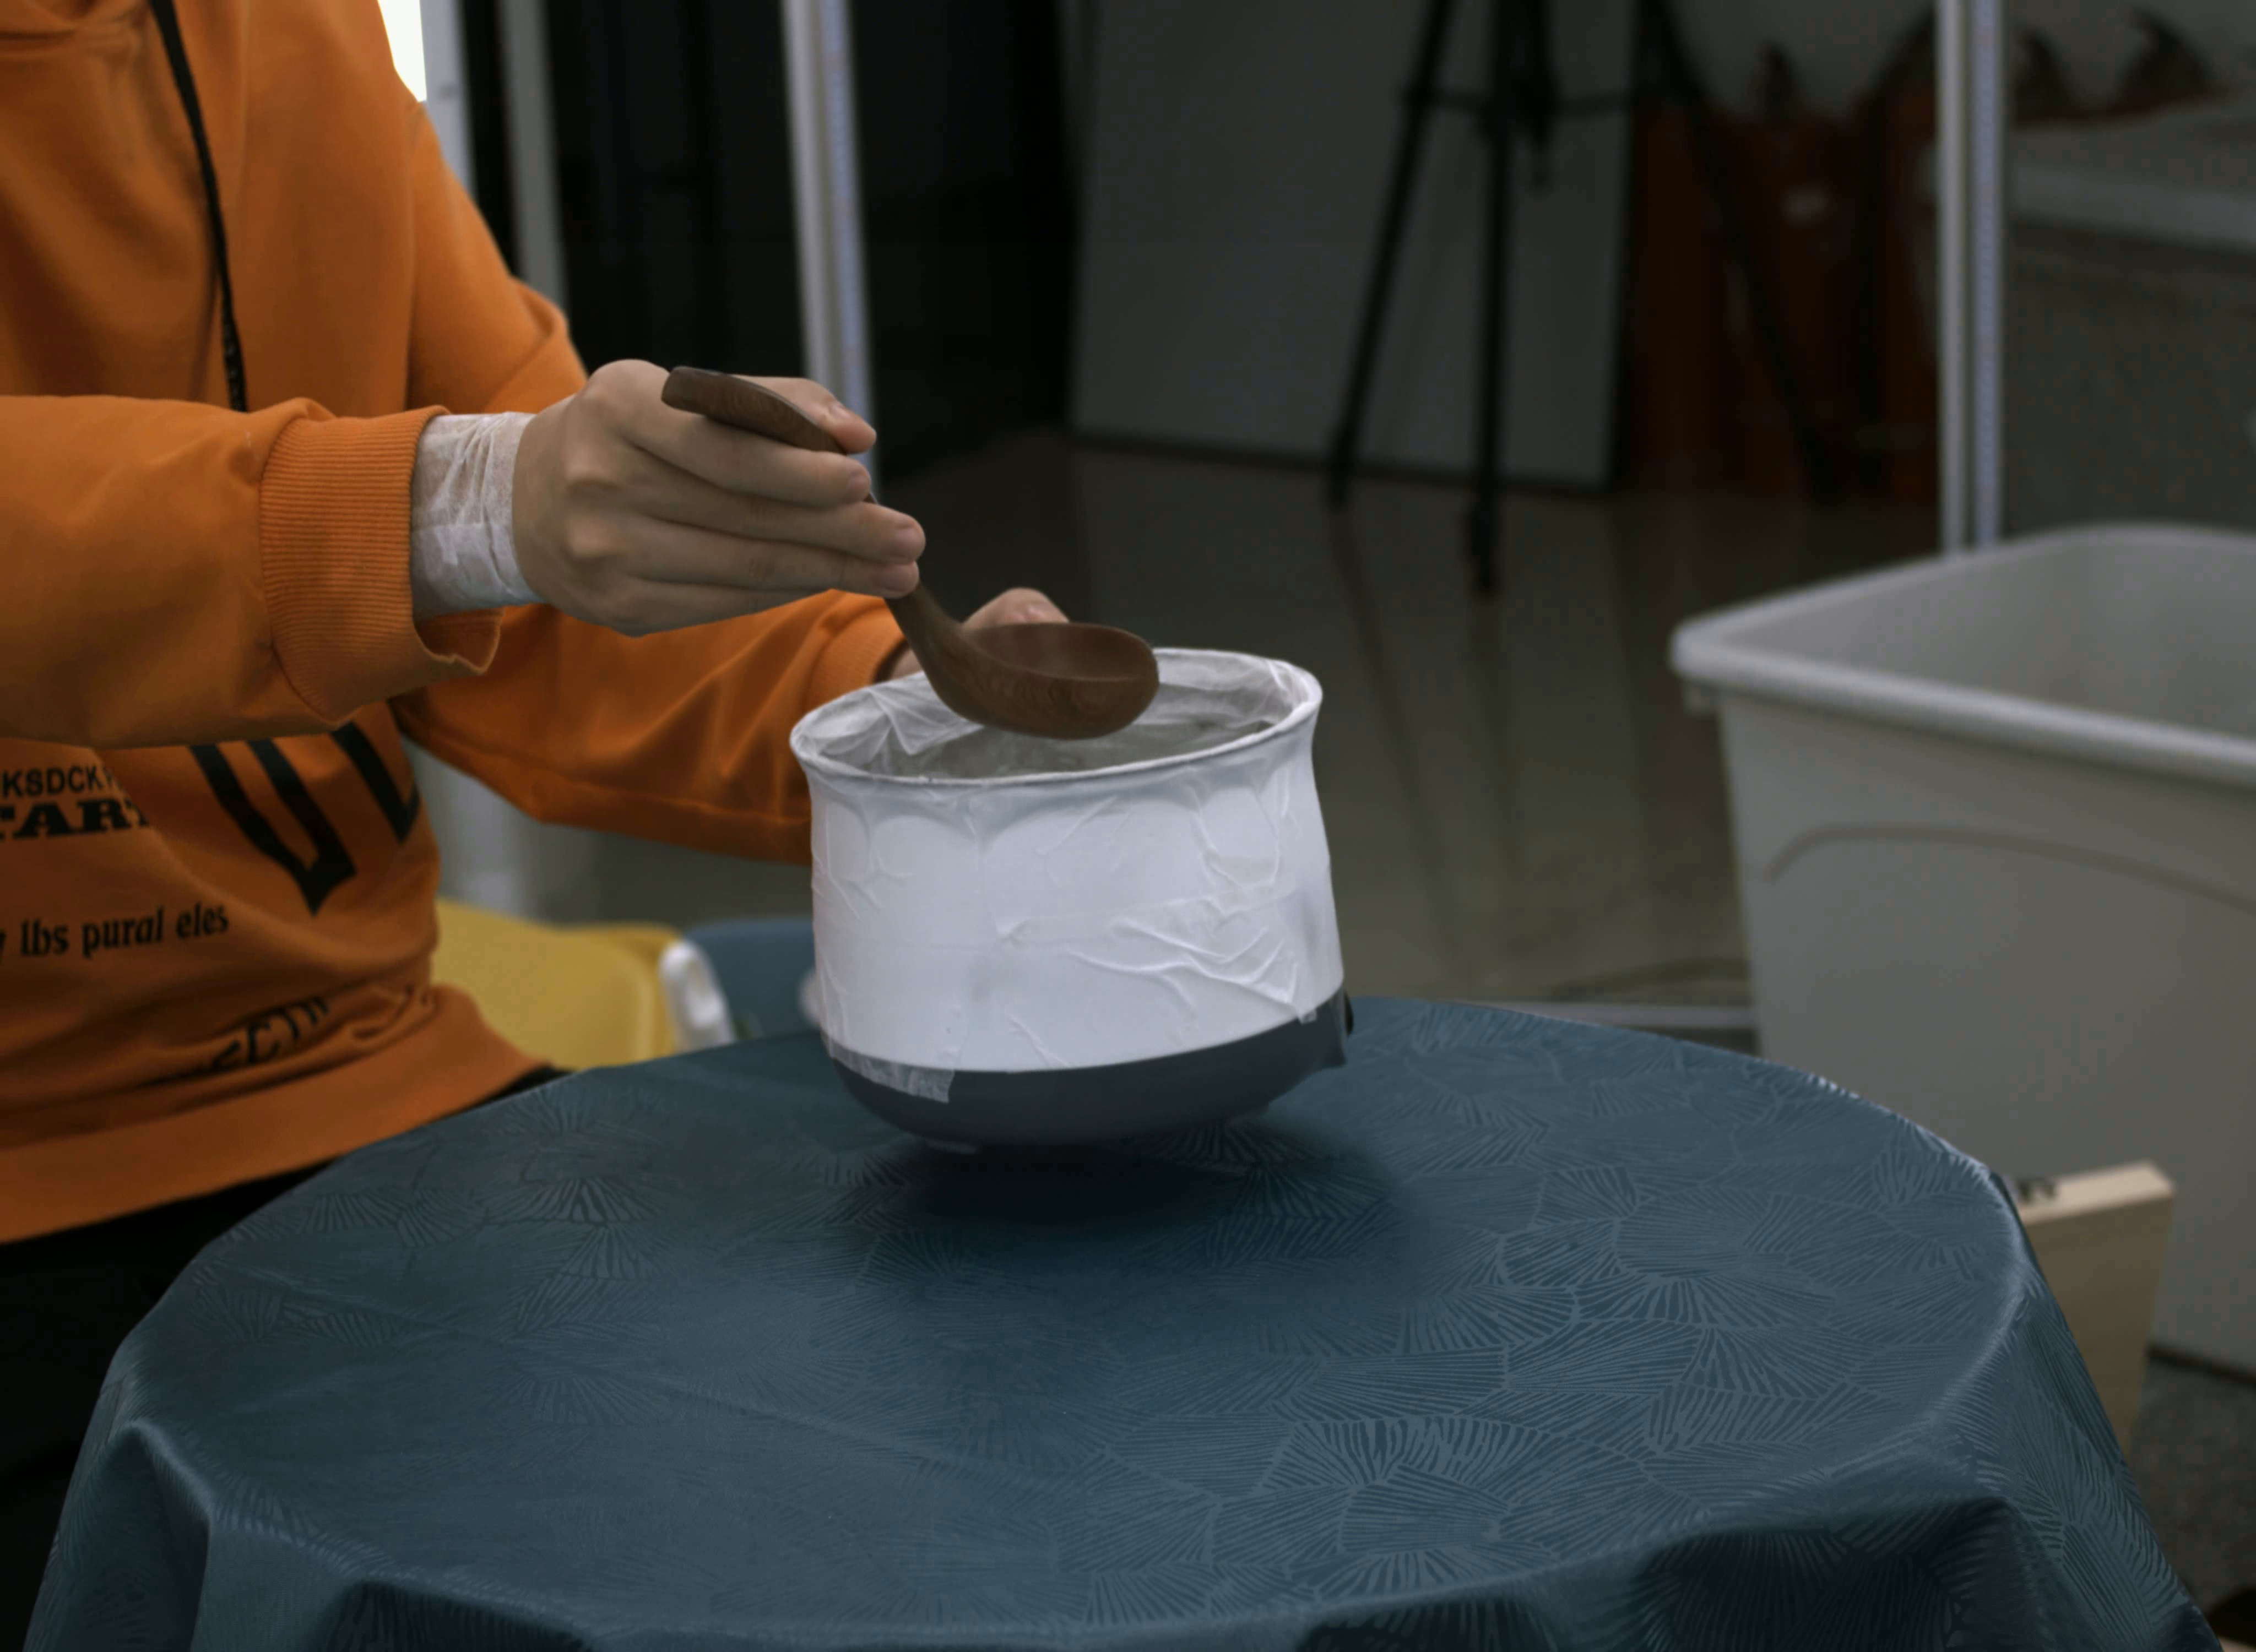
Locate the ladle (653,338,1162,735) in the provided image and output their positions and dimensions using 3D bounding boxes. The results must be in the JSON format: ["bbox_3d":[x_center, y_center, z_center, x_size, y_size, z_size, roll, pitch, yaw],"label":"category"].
[{"bbox_3d":[-0.069,-0.098,1.687,0.077,0.065,0.257,7,-26,33],"label":"ladle"}]

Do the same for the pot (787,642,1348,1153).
[{"bbox_3d":[-0.021,0.016,1.803,0.176,0.138,0.234,-6,14,-4],"label":"pot"}]
